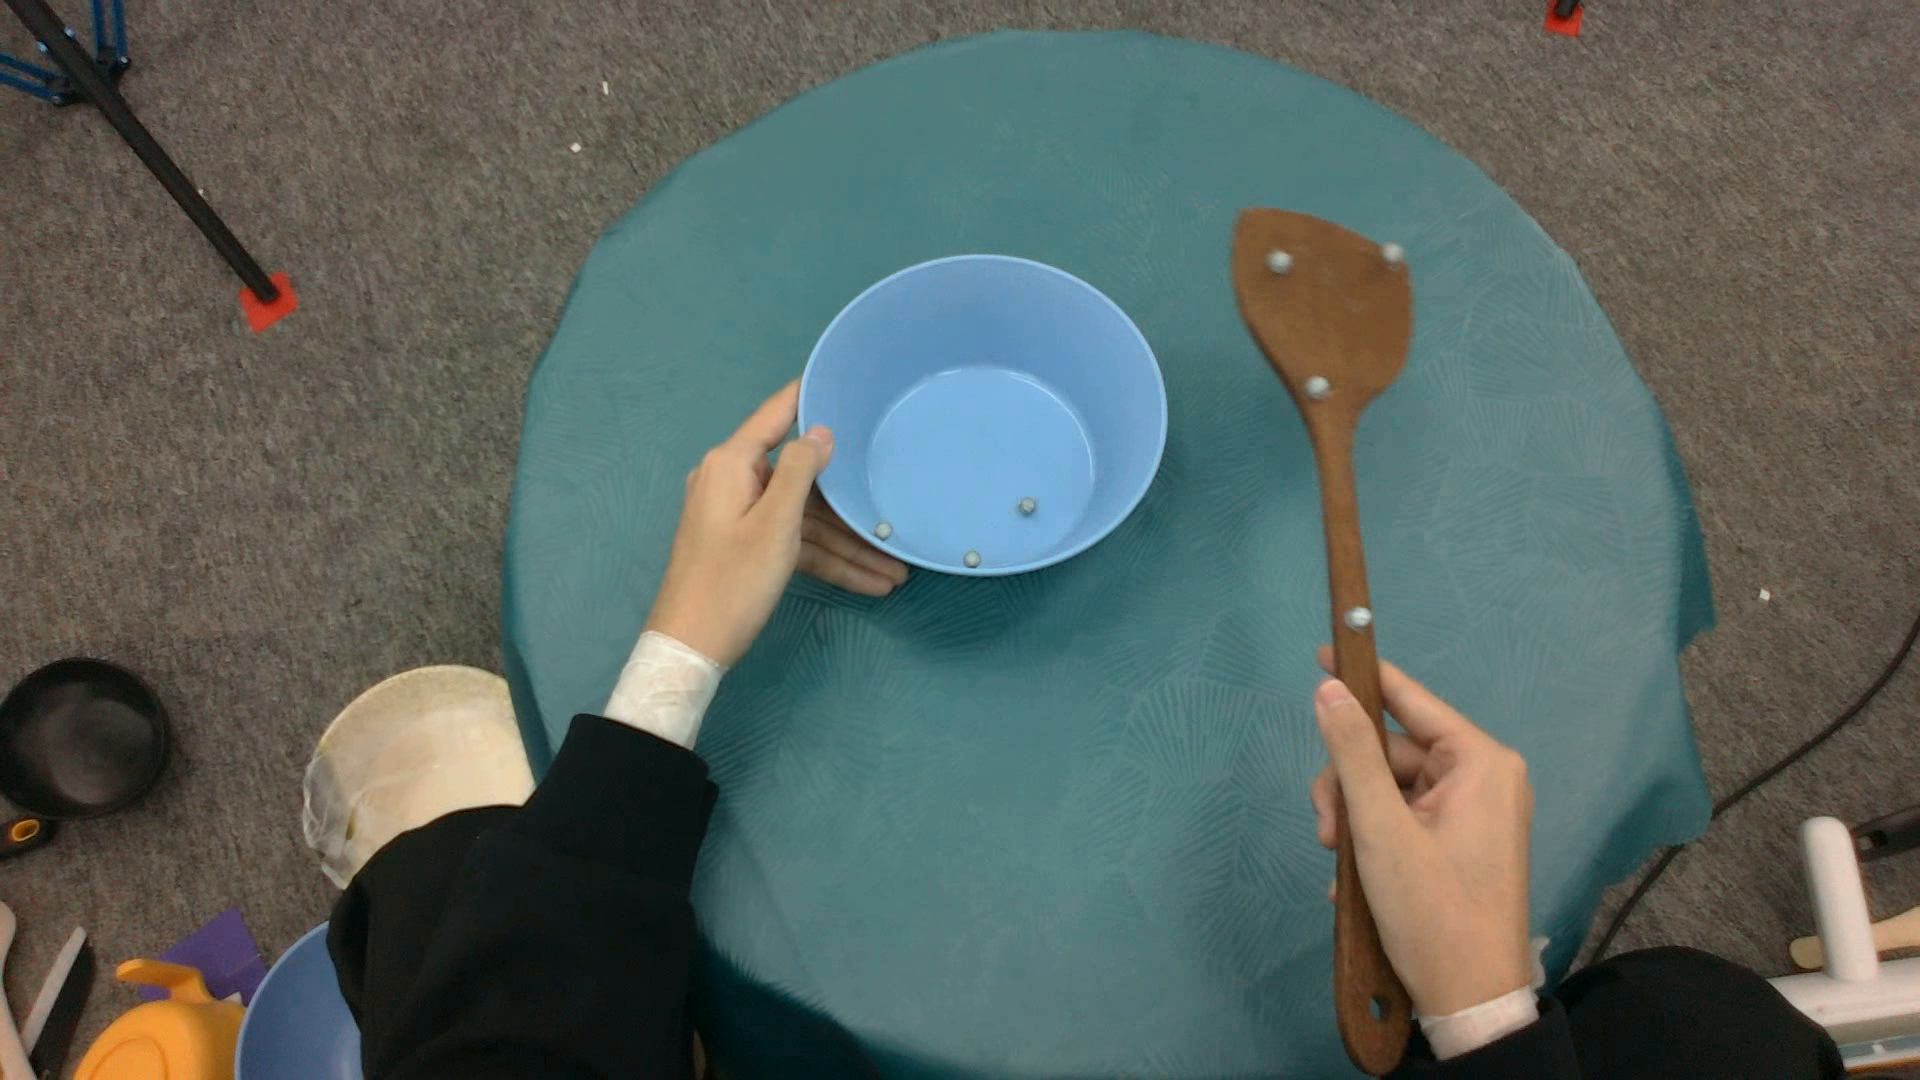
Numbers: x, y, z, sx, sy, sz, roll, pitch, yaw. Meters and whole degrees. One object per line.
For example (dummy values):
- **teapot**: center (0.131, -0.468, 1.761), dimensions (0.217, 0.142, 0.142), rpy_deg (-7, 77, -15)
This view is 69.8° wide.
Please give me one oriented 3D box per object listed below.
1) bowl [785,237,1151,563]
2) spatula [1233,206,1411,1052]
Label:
- **bowl**: center (0.004, -0.059, 0.684), dimensions (0.176, 0.070, 0.176), rpy_deg (0, 66, 0)
- **spatula**: center (0.159, 0.012, 0.580), dimensions (0.096, 0.016, 0.387), rpy_deg (14, 59, -15)
